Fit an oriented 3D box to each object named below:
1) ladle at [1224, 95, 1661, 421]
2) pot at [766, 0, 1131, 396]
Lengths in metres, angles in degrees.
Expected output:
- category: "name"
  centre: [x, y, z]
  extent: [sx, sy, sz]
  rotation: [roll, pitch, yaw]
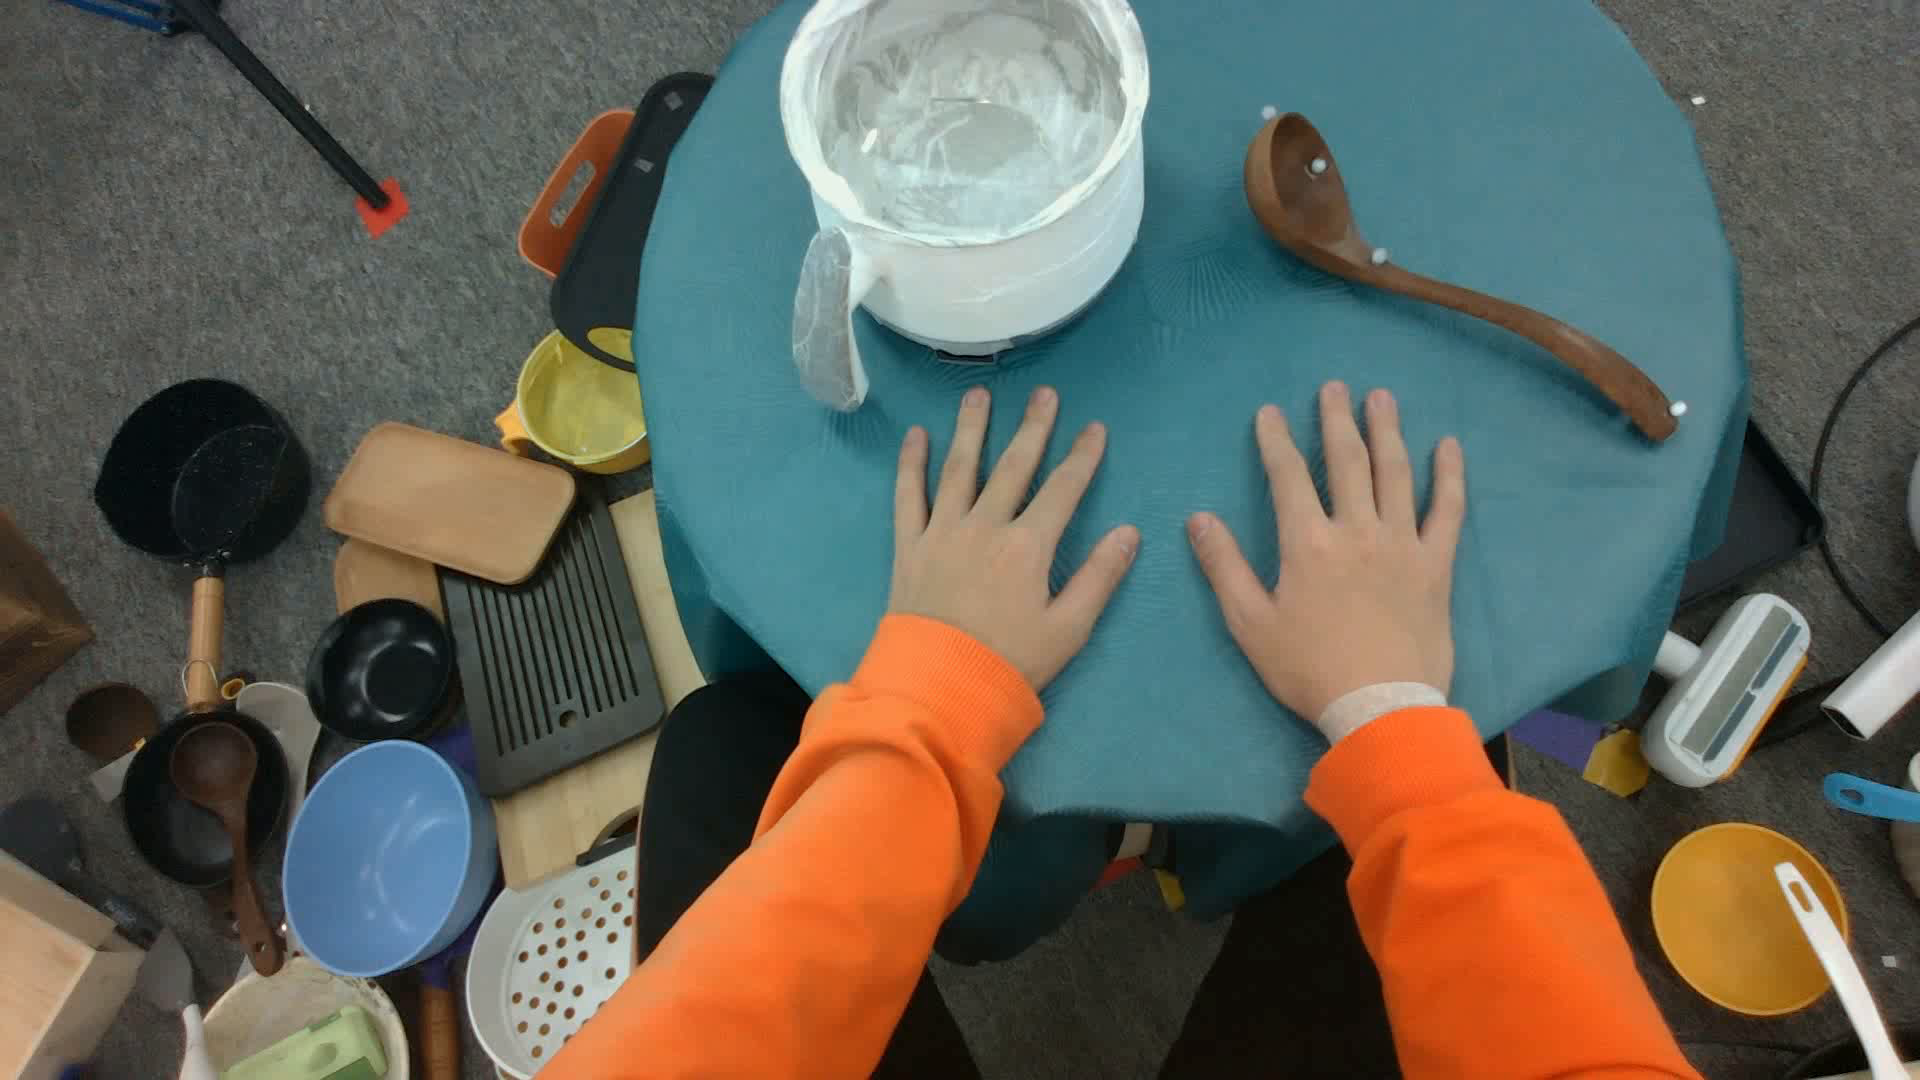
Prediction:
- category: "ladle"
  centre: [0.252, -0.147, 0.714]
  extent: [0.260, 0.065, 0.077]
  rotation: [32, 53, 15]
- category: "pot"
  centre: [-0.016, -0.185, 0.712]
  extent: [0.179, 0.136, 0.234]
  rotation: [32, 77, 15]
